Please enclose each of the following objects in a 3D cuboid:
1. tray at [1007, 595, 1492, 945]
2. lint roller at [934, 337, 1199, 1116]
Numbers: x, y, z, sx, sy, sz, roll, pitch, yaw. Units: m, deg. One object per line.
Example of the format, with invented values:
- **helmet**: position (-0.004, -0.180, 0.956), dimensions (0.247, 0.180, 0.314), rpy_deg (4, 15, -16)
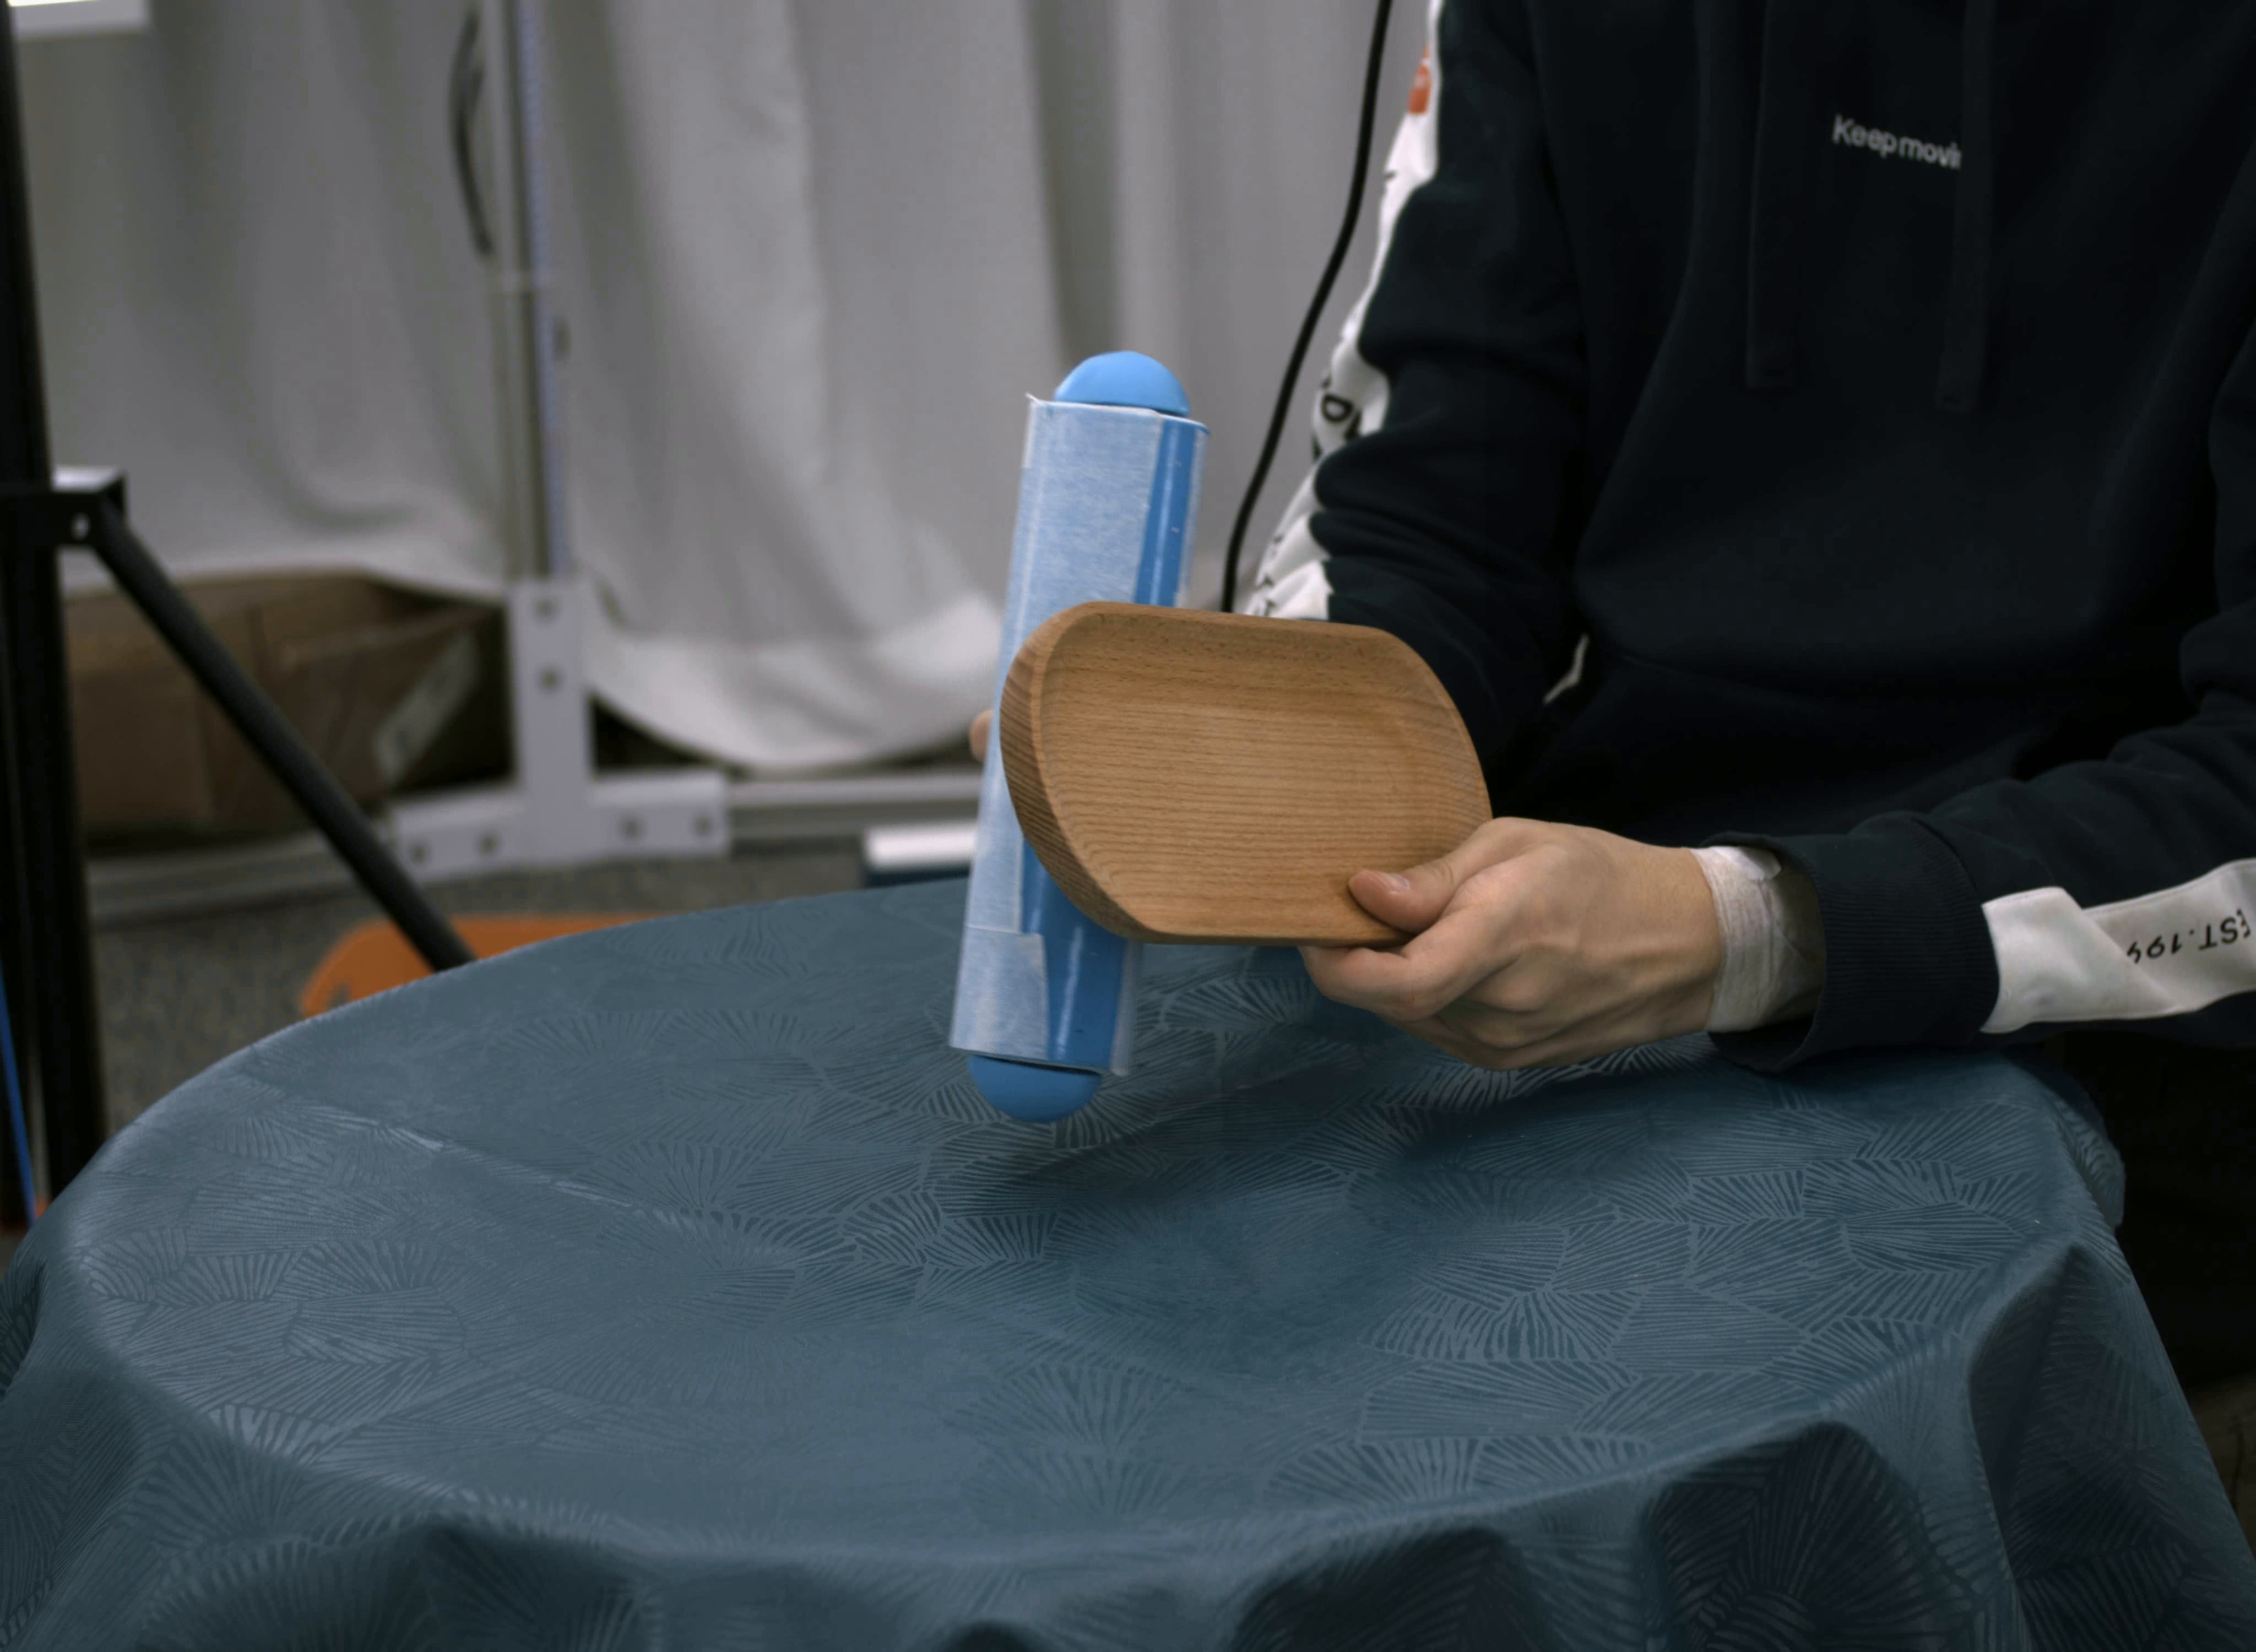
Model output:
- **tray**: position (0.039, -0.014, 1.556), dimensions (0.020, 0.102, 0.225), rpy_deg (-19, -12, 33)
- **lint roller**: position (0.006, -0.022, 1.615), dimensions (0.069, 0.230, 0.176), rpy_deg (6, -5, 25)
